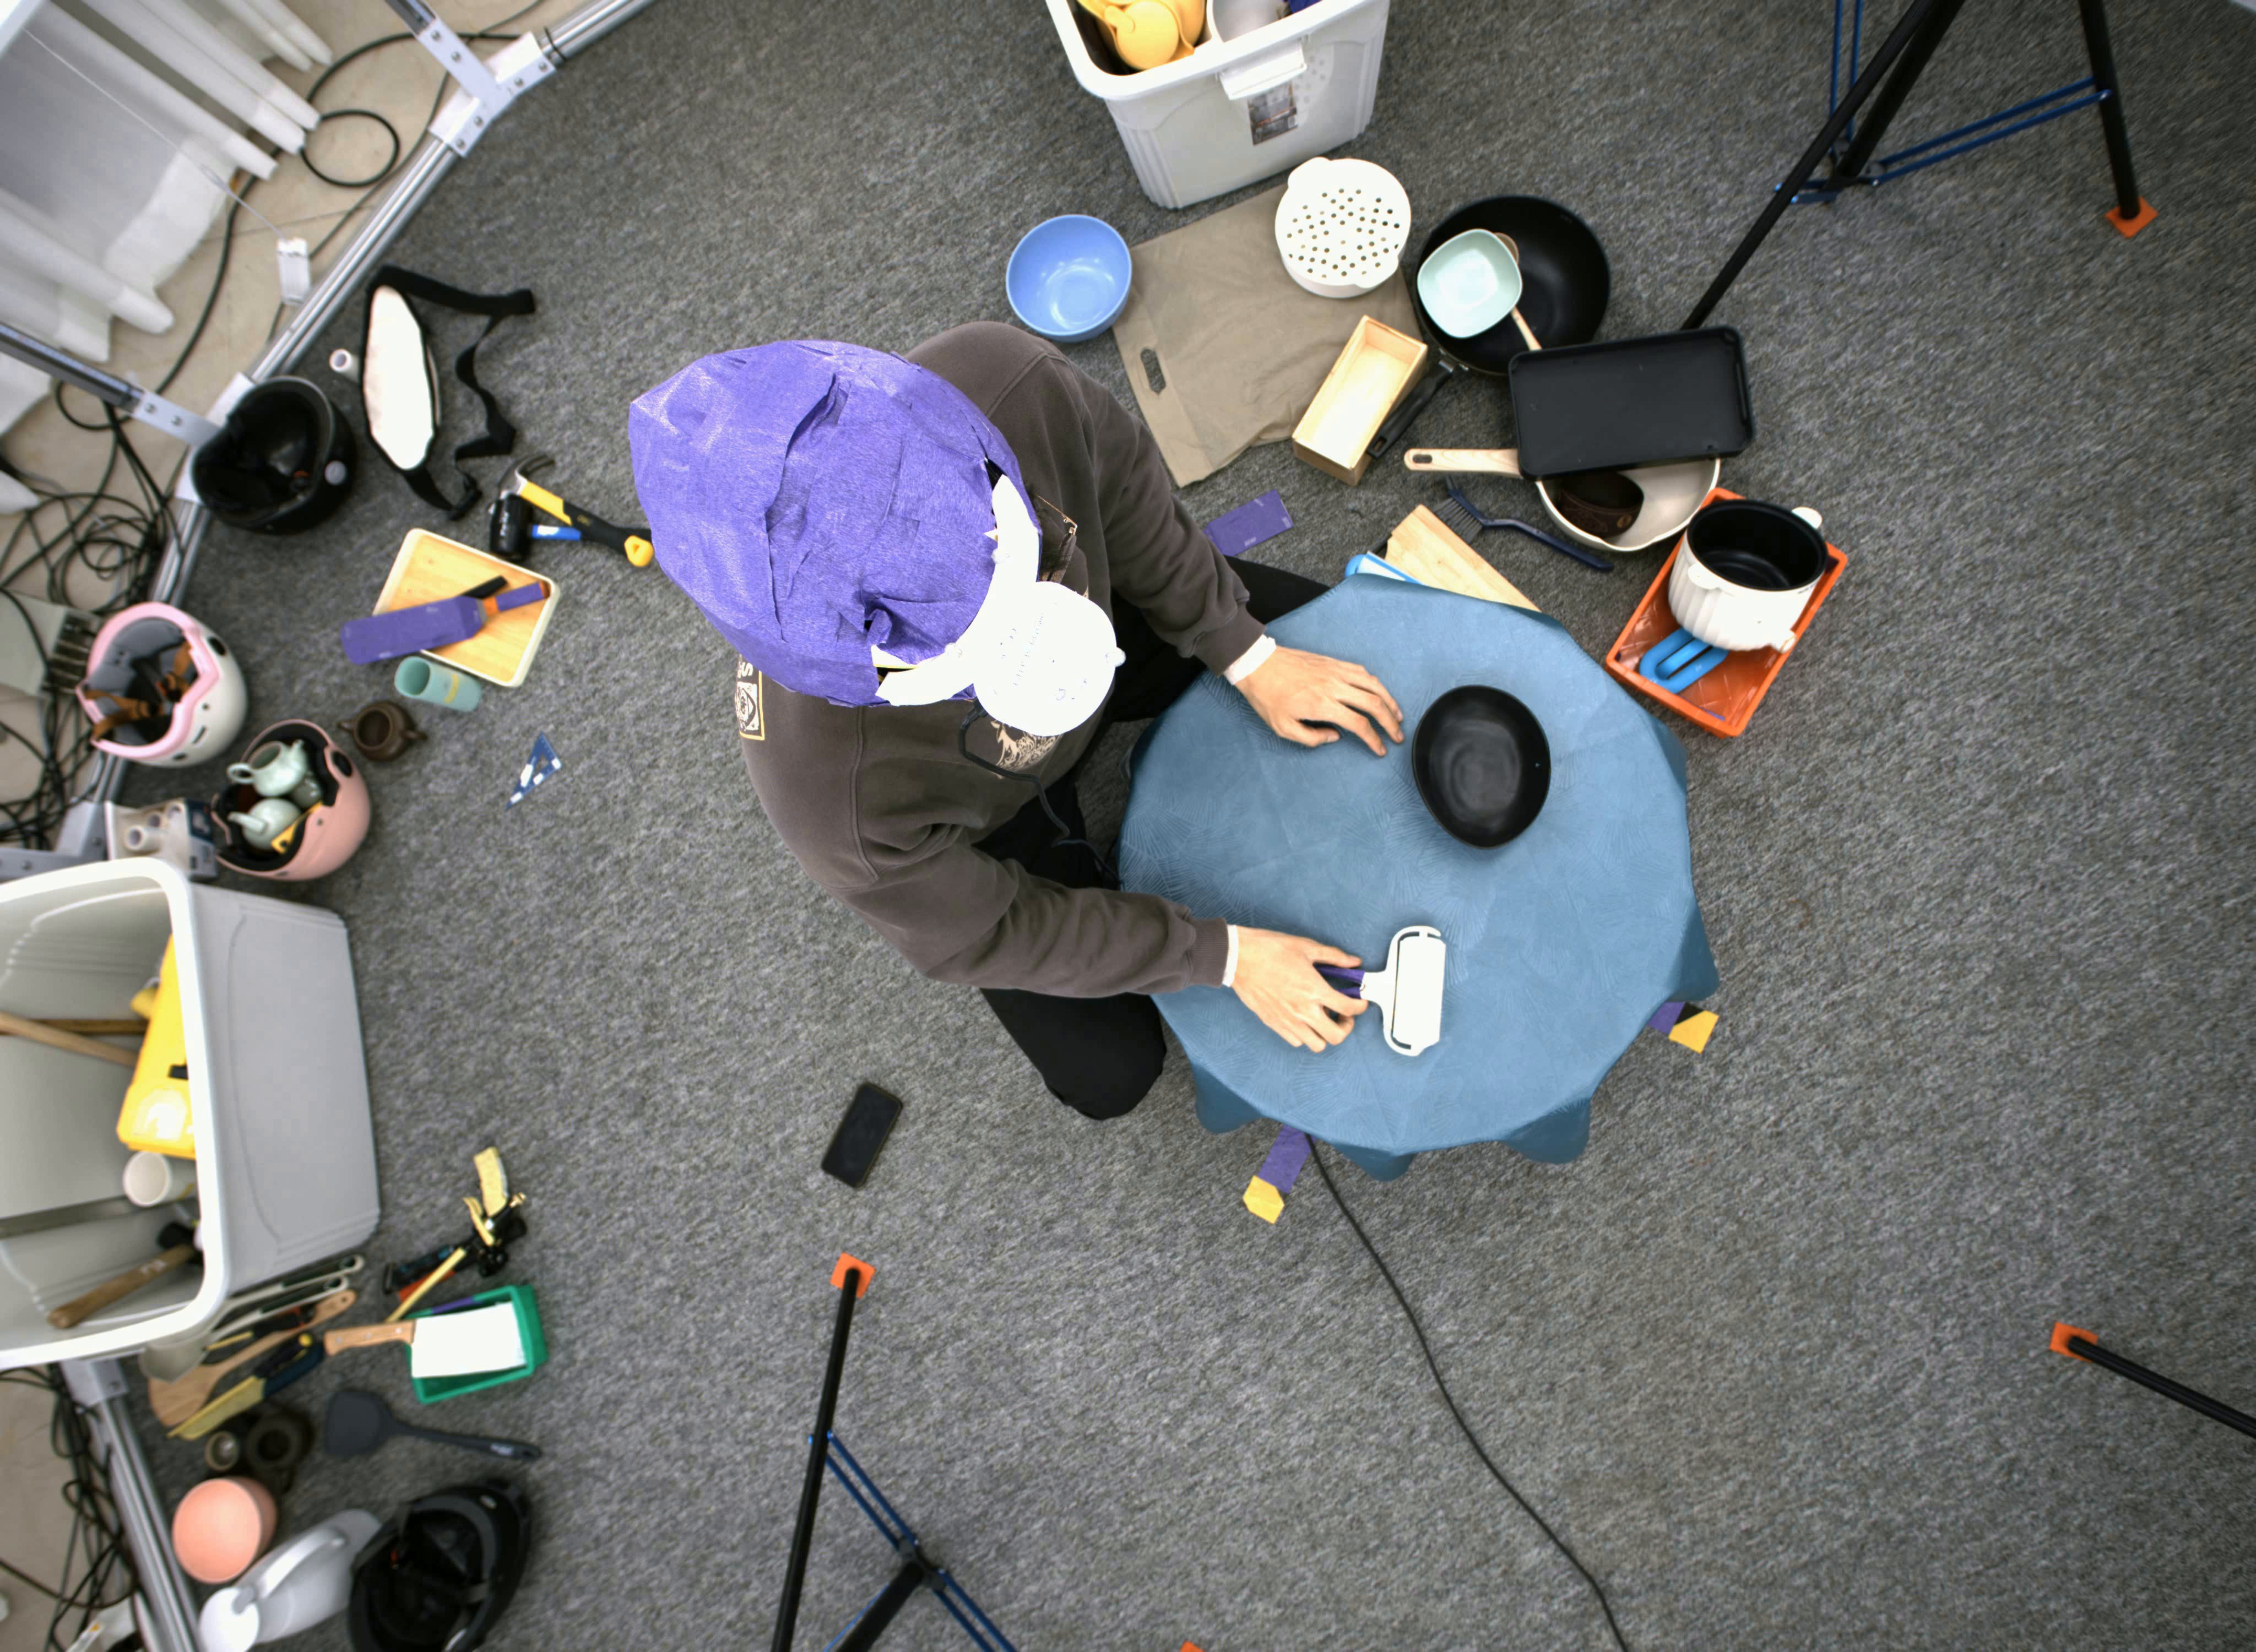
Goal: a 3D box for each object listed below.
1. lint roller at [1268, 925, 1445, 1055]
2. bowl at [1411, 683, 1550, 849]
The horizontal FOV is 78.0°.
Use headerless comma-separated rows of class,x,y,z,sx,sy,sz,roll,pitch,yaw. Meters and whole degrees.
lint roller,0.235,0.161,1.435,0.181,0.050,0.132,6,88,8
bowl,0.362,-0.063,1.415,0.138,0.066,0.169,-11,87,11
